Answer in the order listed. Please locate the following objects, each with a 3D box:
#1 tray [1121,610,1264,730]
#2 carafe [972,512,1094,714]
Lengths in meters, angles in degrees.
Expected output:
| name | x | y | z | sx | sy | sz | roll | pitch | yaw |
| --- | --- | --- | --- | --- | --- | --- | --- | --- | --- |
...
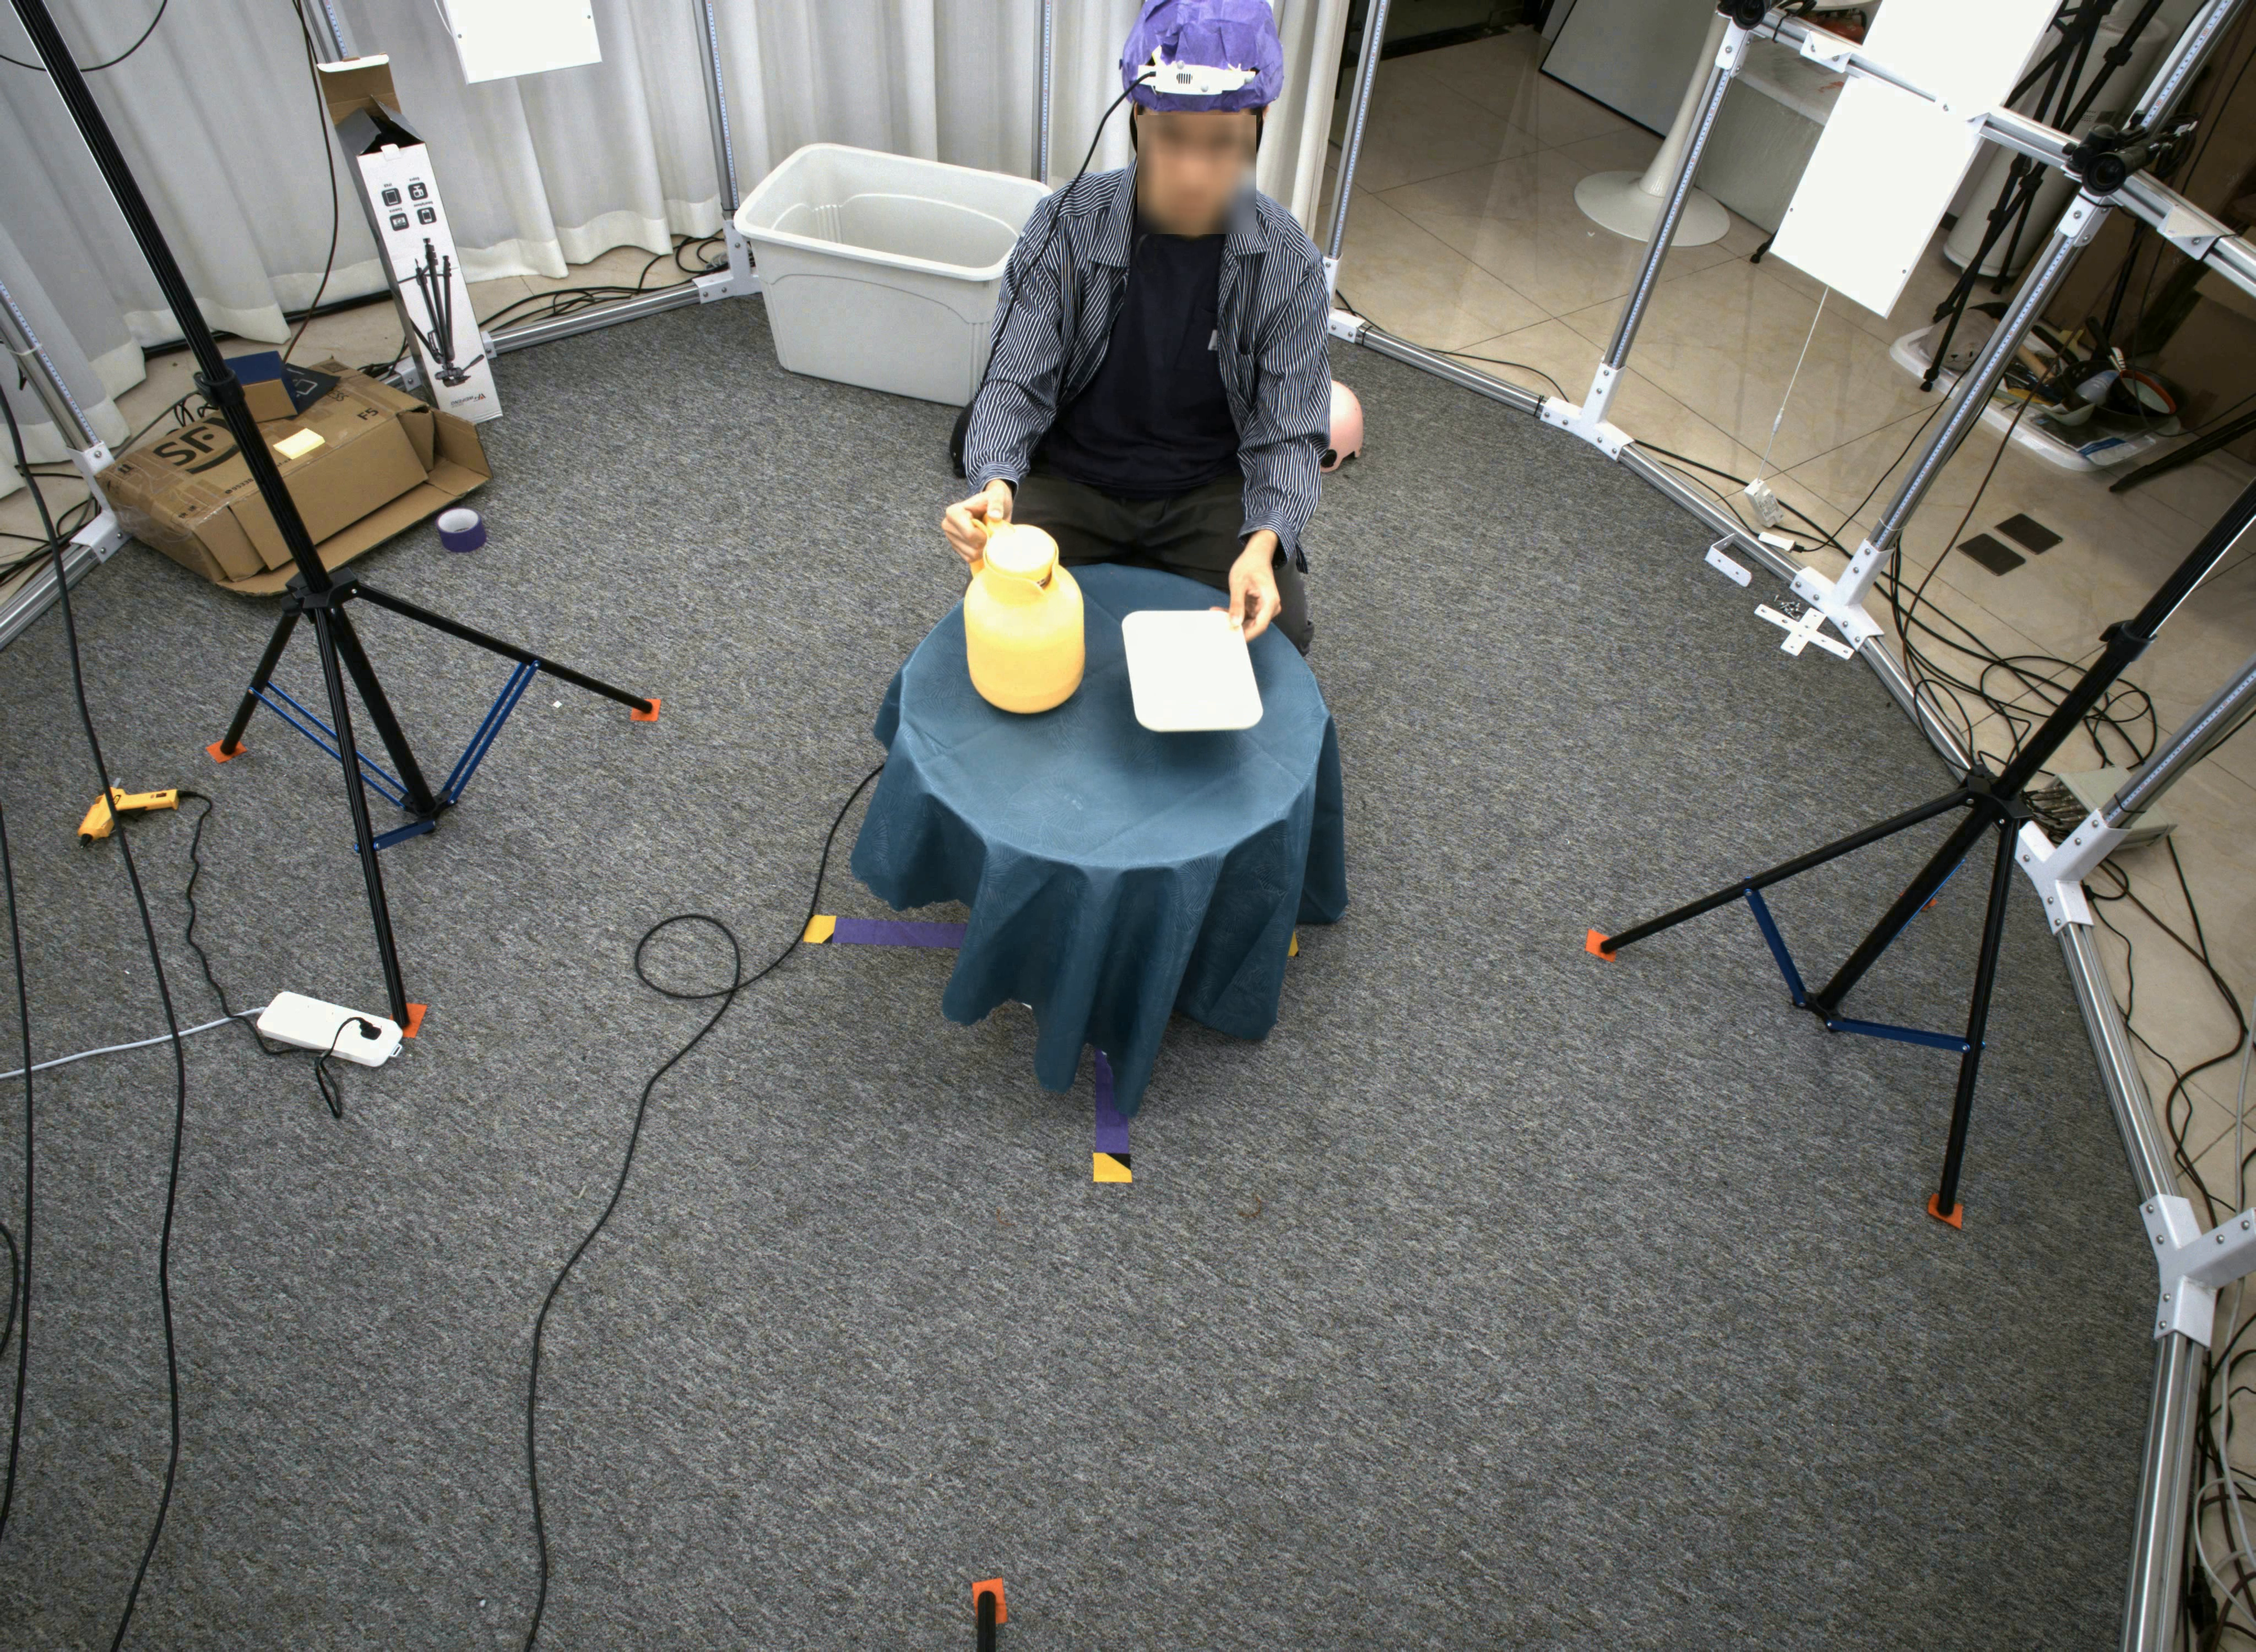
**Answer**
| name | x | y | z | sx | sy | sz | roll | pitch | yaw |
| --- | --- | --- | --- | --- | --- | --- | --- | --- | --- |
| tray | 0.084 | -0.213 | 1.742 | 0.171 | 0.017 | 0.246 | -1 | 46 | -8 |
| carafe | -0.136 | -0.295 | 1.729 | 0.164 | 0.254 | 0.206 | -30 | 60 | -24 |
